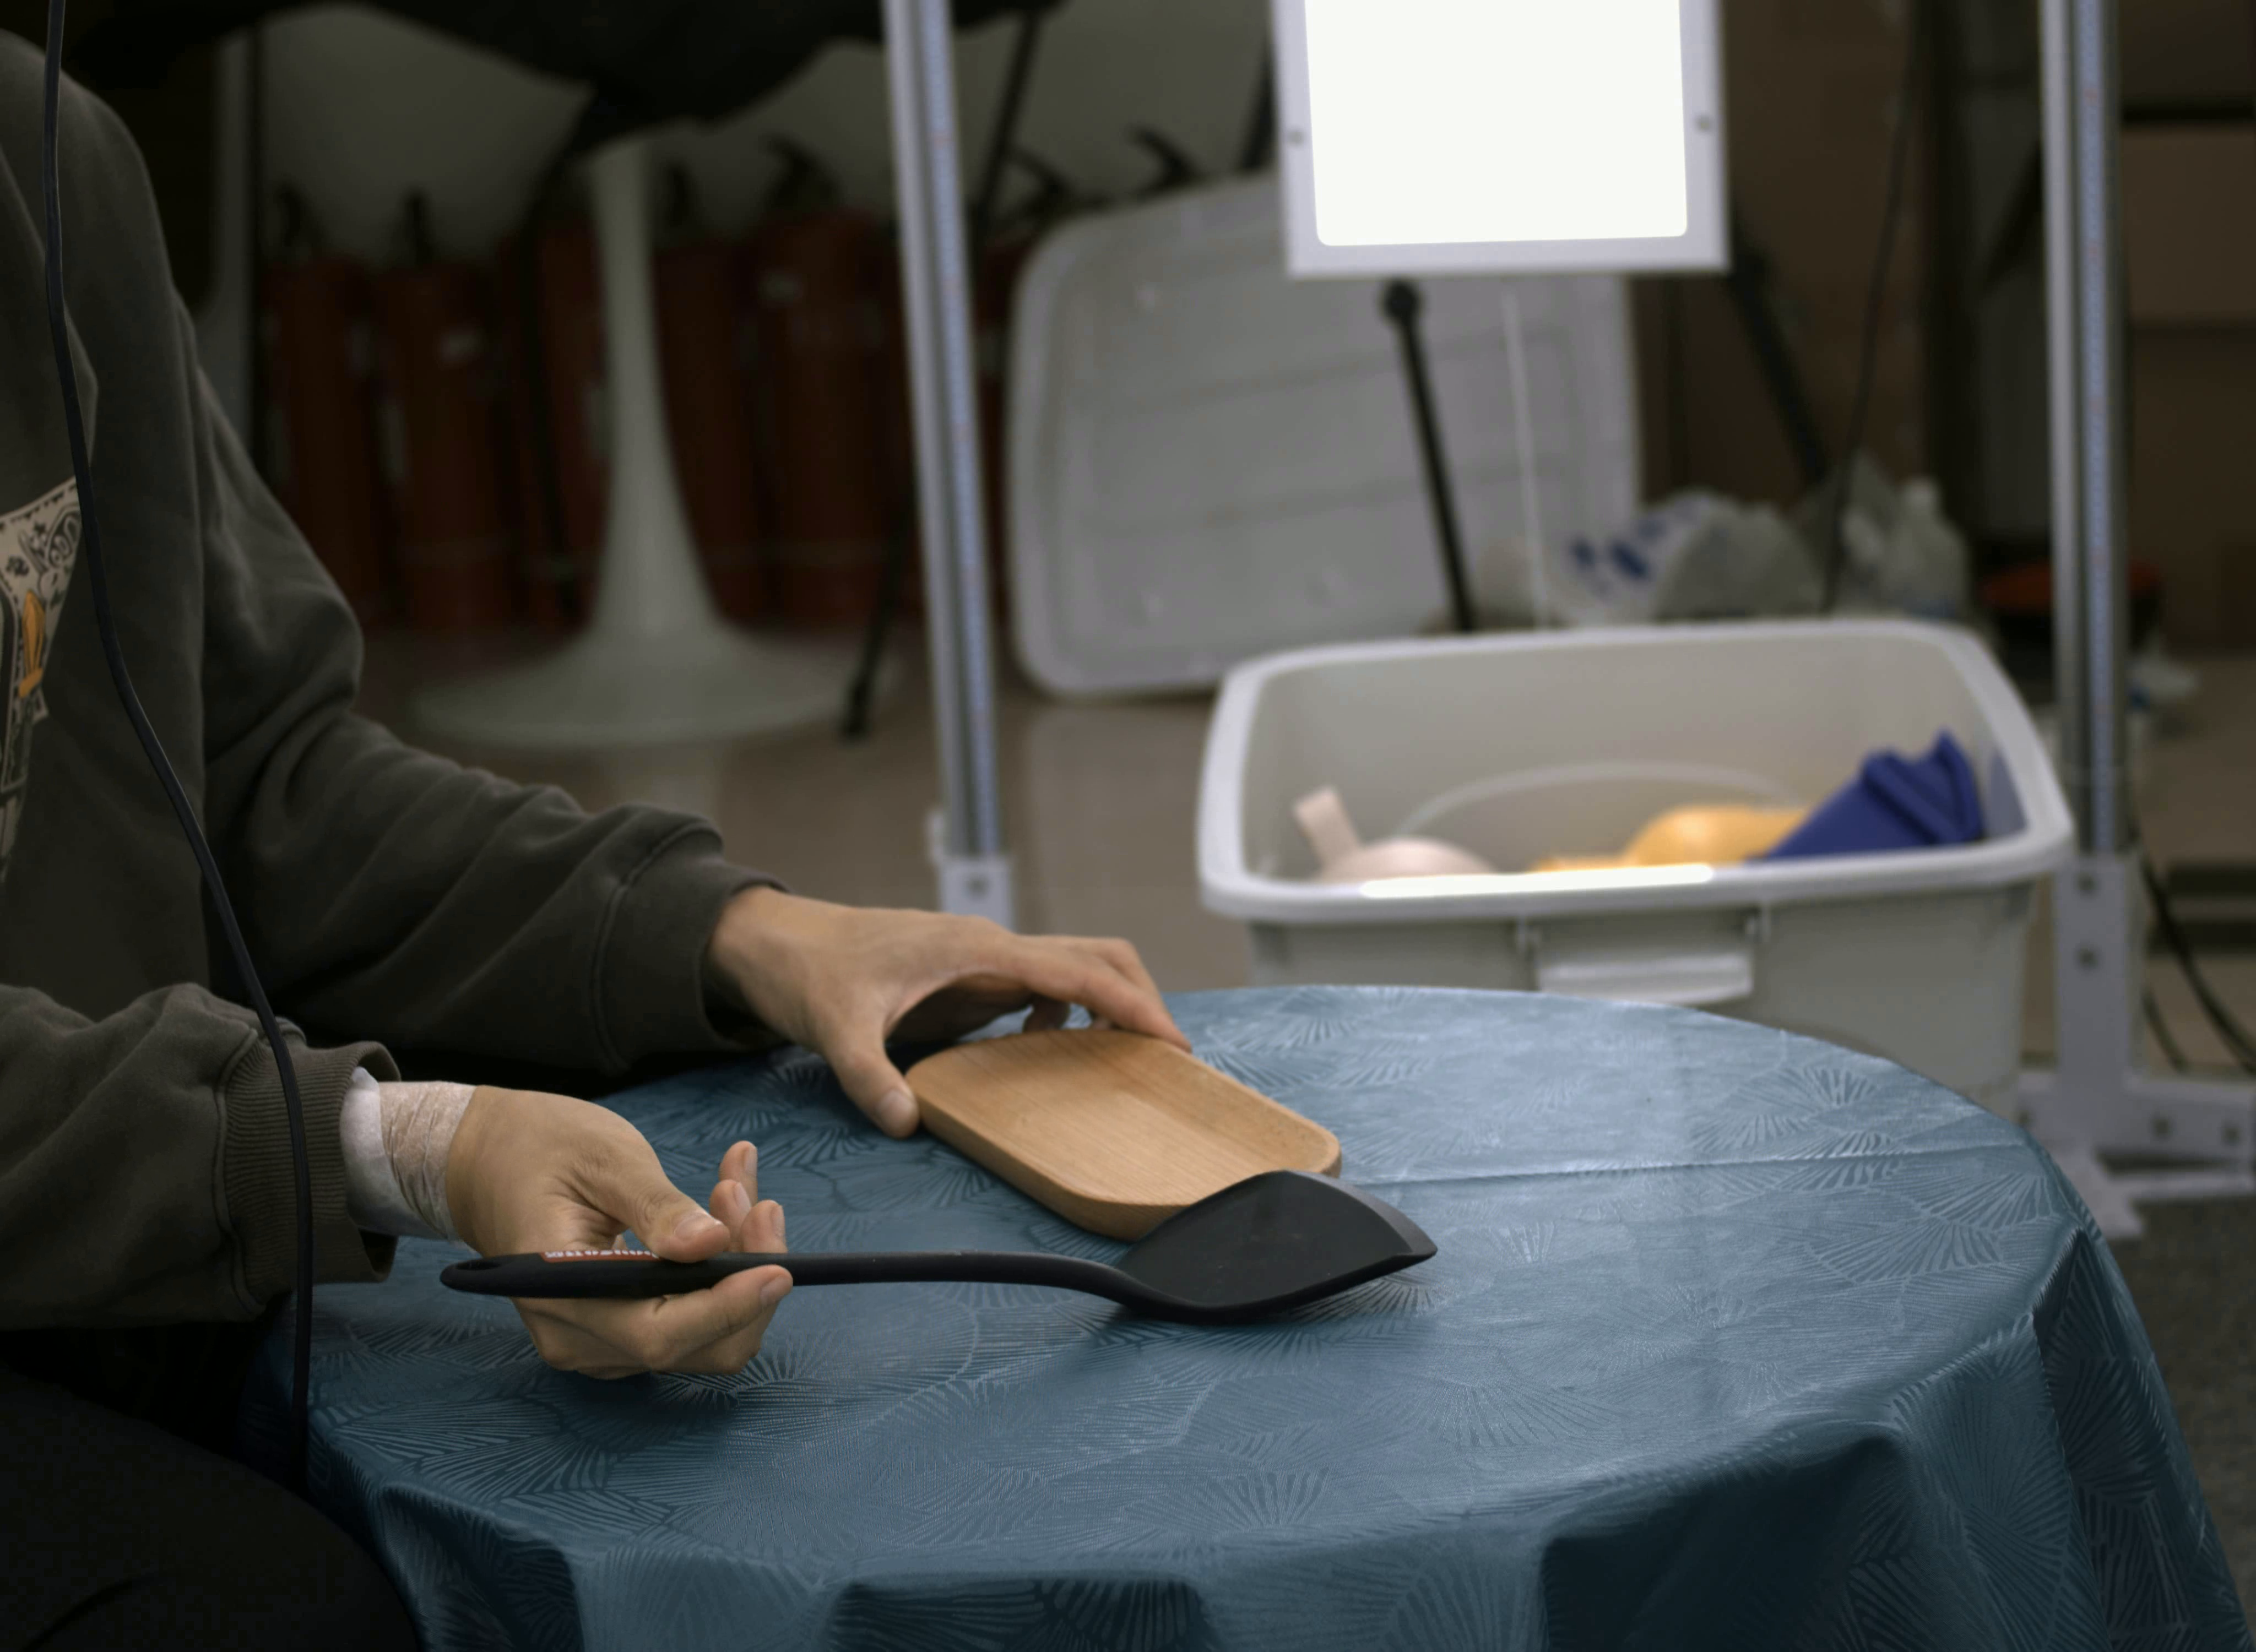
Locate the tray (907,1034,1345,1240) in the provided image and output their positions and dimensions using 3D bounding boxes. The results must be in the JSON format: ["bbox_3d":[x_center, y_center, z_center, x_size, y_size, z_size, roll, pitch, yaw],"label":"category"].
[{"bbox_3d":[-0.003,0.108,1.938,0.100,0.020,0.234,-12,16,-21],"label":"tray"}]

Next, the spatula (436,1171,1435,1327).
[{"bbox_3d":[-0.062,0.133,1.740,0.319,0.040,0.101,4,10,-24],"label":"spatula"}]
